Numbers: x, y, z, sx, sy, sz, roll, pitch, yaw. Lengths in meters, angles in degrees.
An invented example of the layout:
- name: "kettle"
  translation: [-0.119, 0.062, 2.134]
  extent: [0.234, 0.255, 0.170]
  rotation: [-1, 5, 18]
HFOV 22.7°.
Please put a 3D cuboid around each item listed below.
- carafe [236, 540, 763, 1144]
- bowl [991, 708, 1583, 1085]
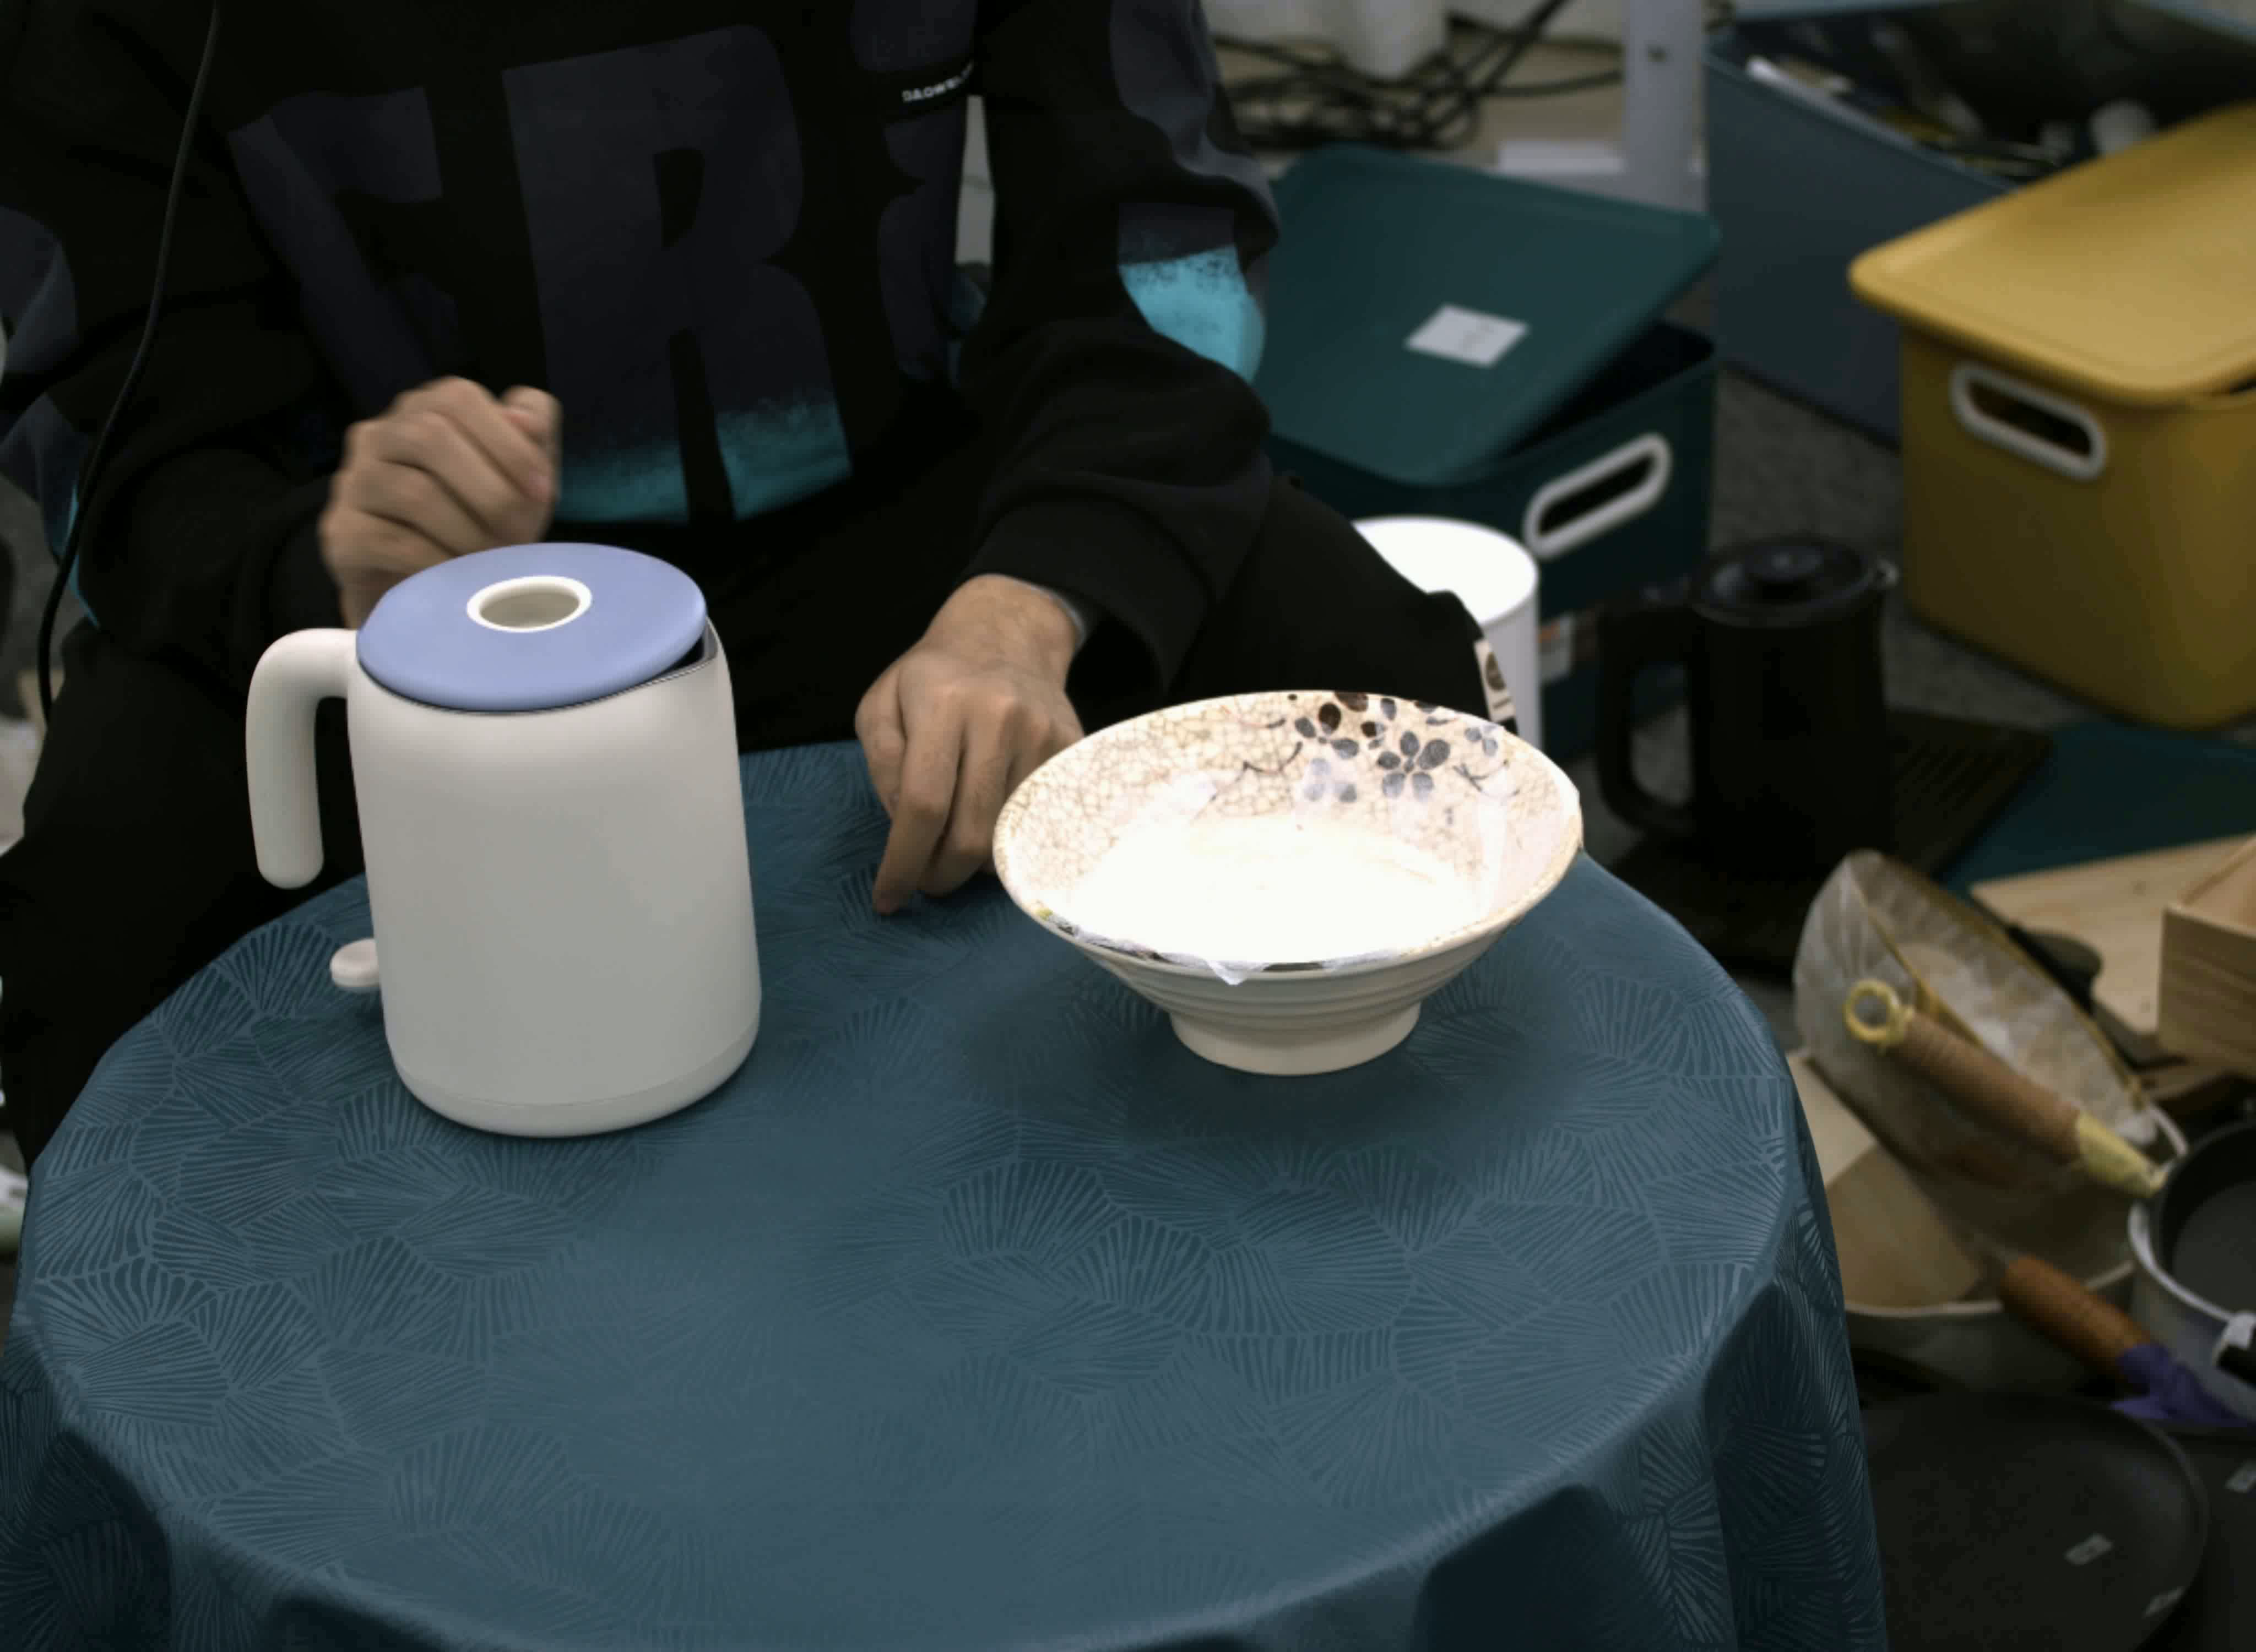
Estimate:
- name: "carafe"
  translation: [-0.219, 0.003, 1.928]
  extent: [0.189, 0.181, 0.134]
  rotation: [4, 26, 20]
- name: "bowl"
  translation: [0.056, 0.035, 1.940]
  extent: [0.203, 0.077, 0.207]
  rotation: [-2, 25, 1]
